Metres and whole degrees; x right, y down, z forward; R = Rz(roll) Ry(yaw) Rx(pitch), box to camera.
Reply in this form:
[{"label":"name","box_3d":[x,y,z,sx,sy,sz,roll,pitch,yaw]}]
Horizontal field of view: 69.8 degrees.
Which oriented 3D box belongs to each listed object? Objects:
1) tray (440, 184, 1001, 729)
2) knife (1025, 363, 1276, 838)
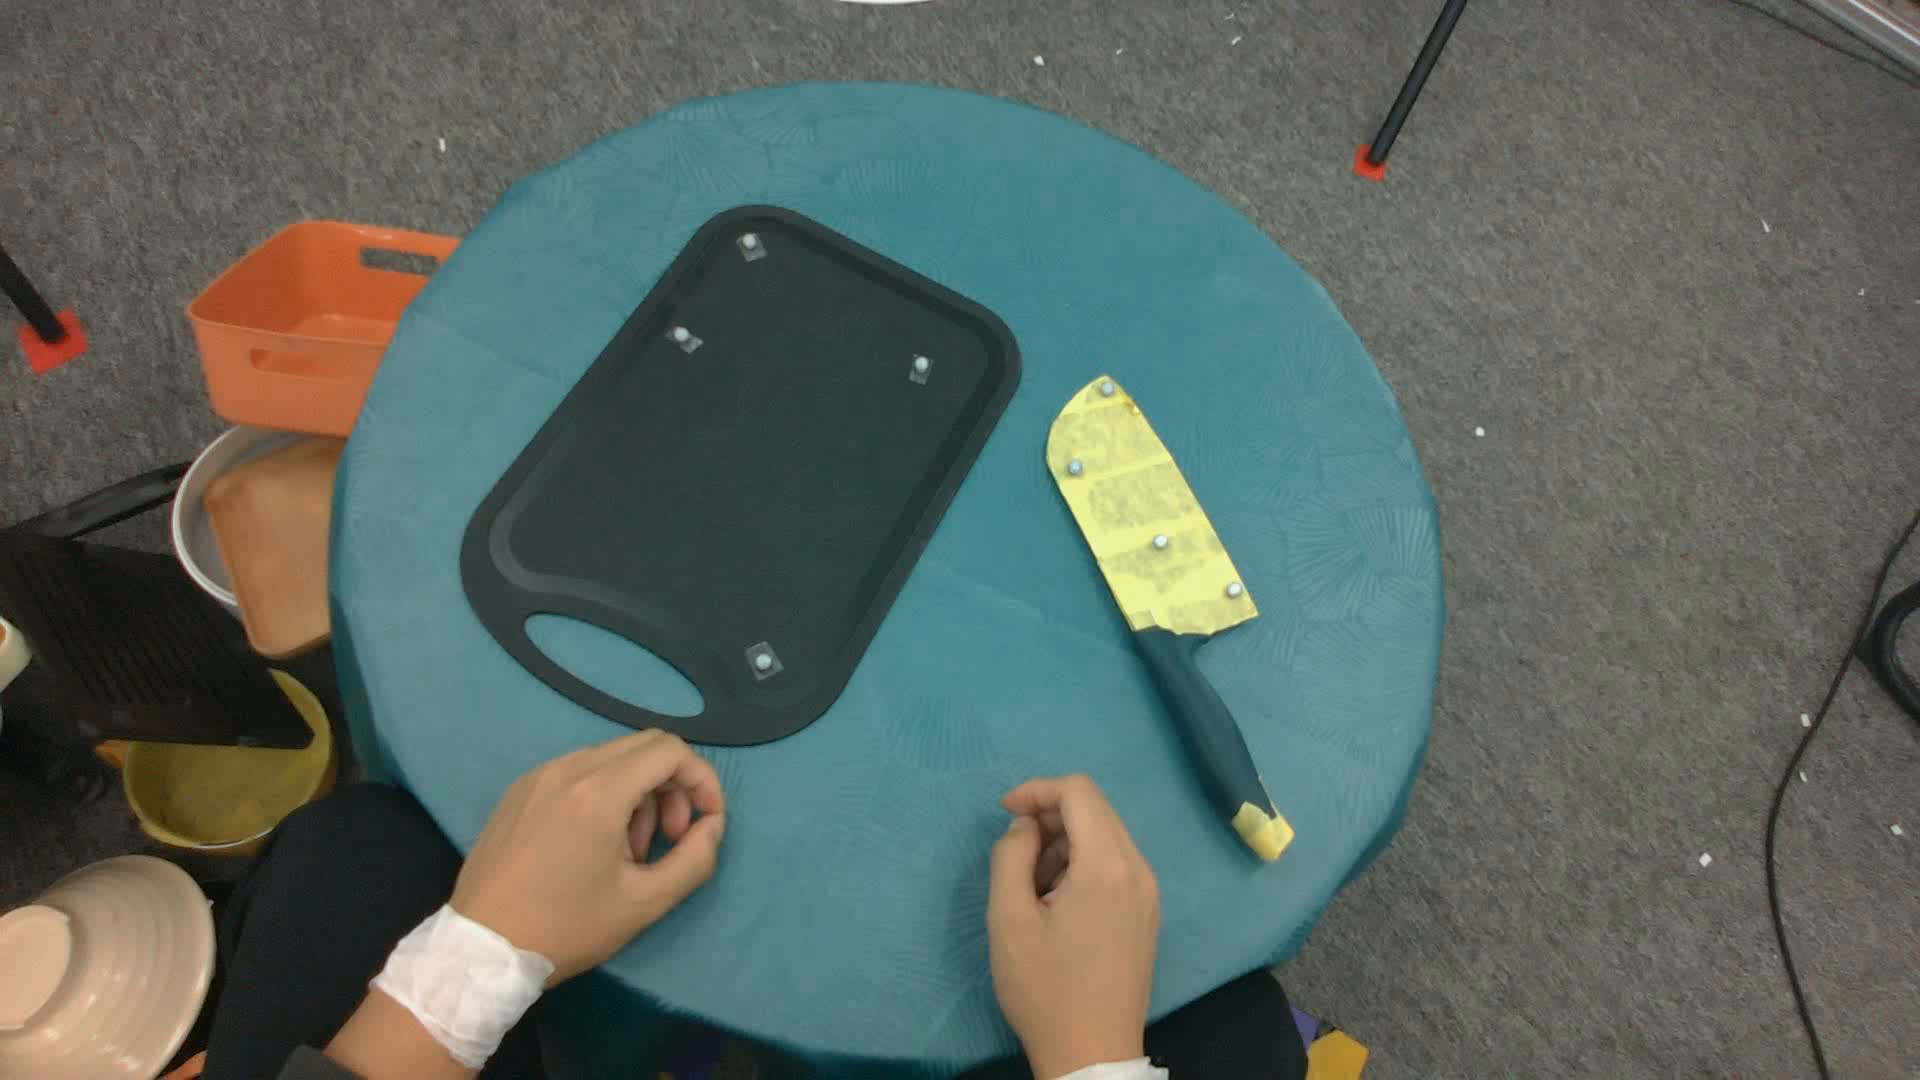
[{"label":"tray","box_3d":[-0.121,-0.055,0.742,0.211,0.010,0.327,27,62,3]},{"label":"knife","box_3d":[0.109,0.021,0.746,0.081,0.027,0.290,-15,66,-16]}]
